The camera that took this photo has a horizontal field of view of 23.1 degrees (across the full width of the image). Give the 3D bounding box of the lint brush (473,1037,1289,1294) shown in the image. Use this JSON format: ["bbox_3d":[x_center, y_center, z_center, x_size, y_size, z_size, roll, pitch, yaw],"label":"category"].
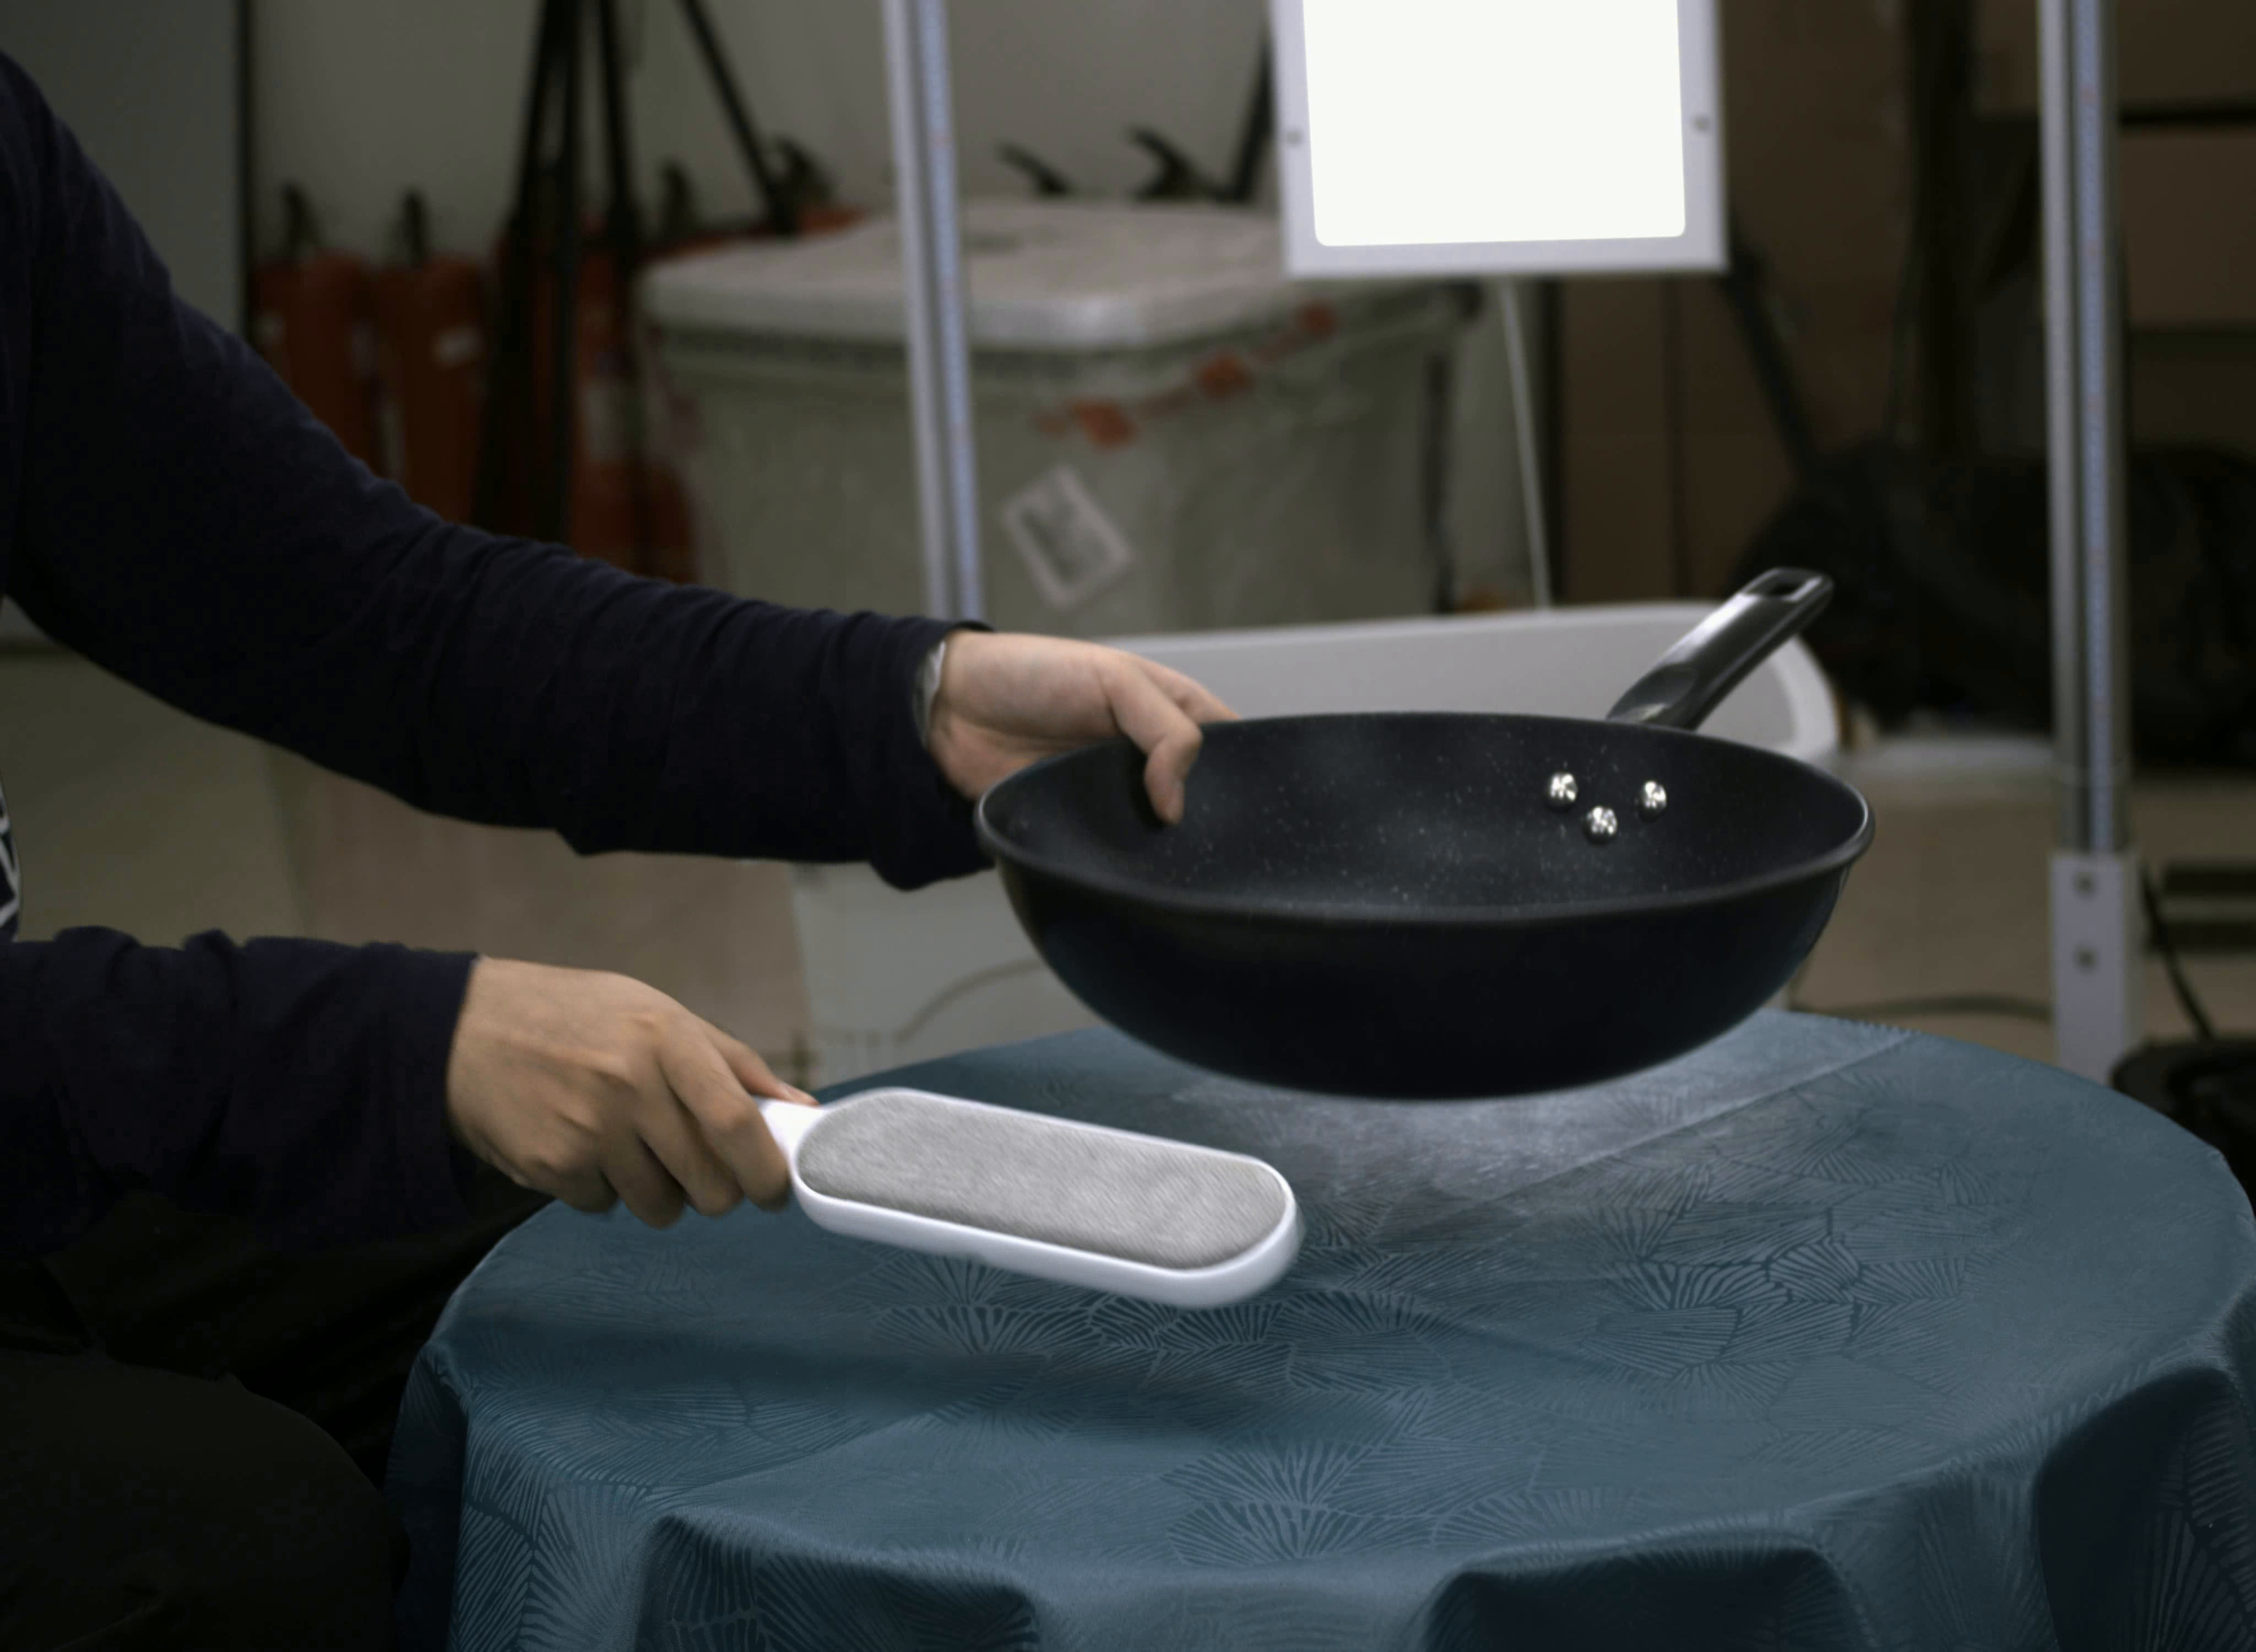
[{"bbox_3d":[-0.085,0.101,1.759,0.315,0.021,0.059,9,52,33],"label":"lint brush"}]

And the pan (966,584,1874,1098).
[{"bbox_3d":[0.142,0.004,1.947,0.316,0.112,0.466,8,15,31],"label":"pan"}]
